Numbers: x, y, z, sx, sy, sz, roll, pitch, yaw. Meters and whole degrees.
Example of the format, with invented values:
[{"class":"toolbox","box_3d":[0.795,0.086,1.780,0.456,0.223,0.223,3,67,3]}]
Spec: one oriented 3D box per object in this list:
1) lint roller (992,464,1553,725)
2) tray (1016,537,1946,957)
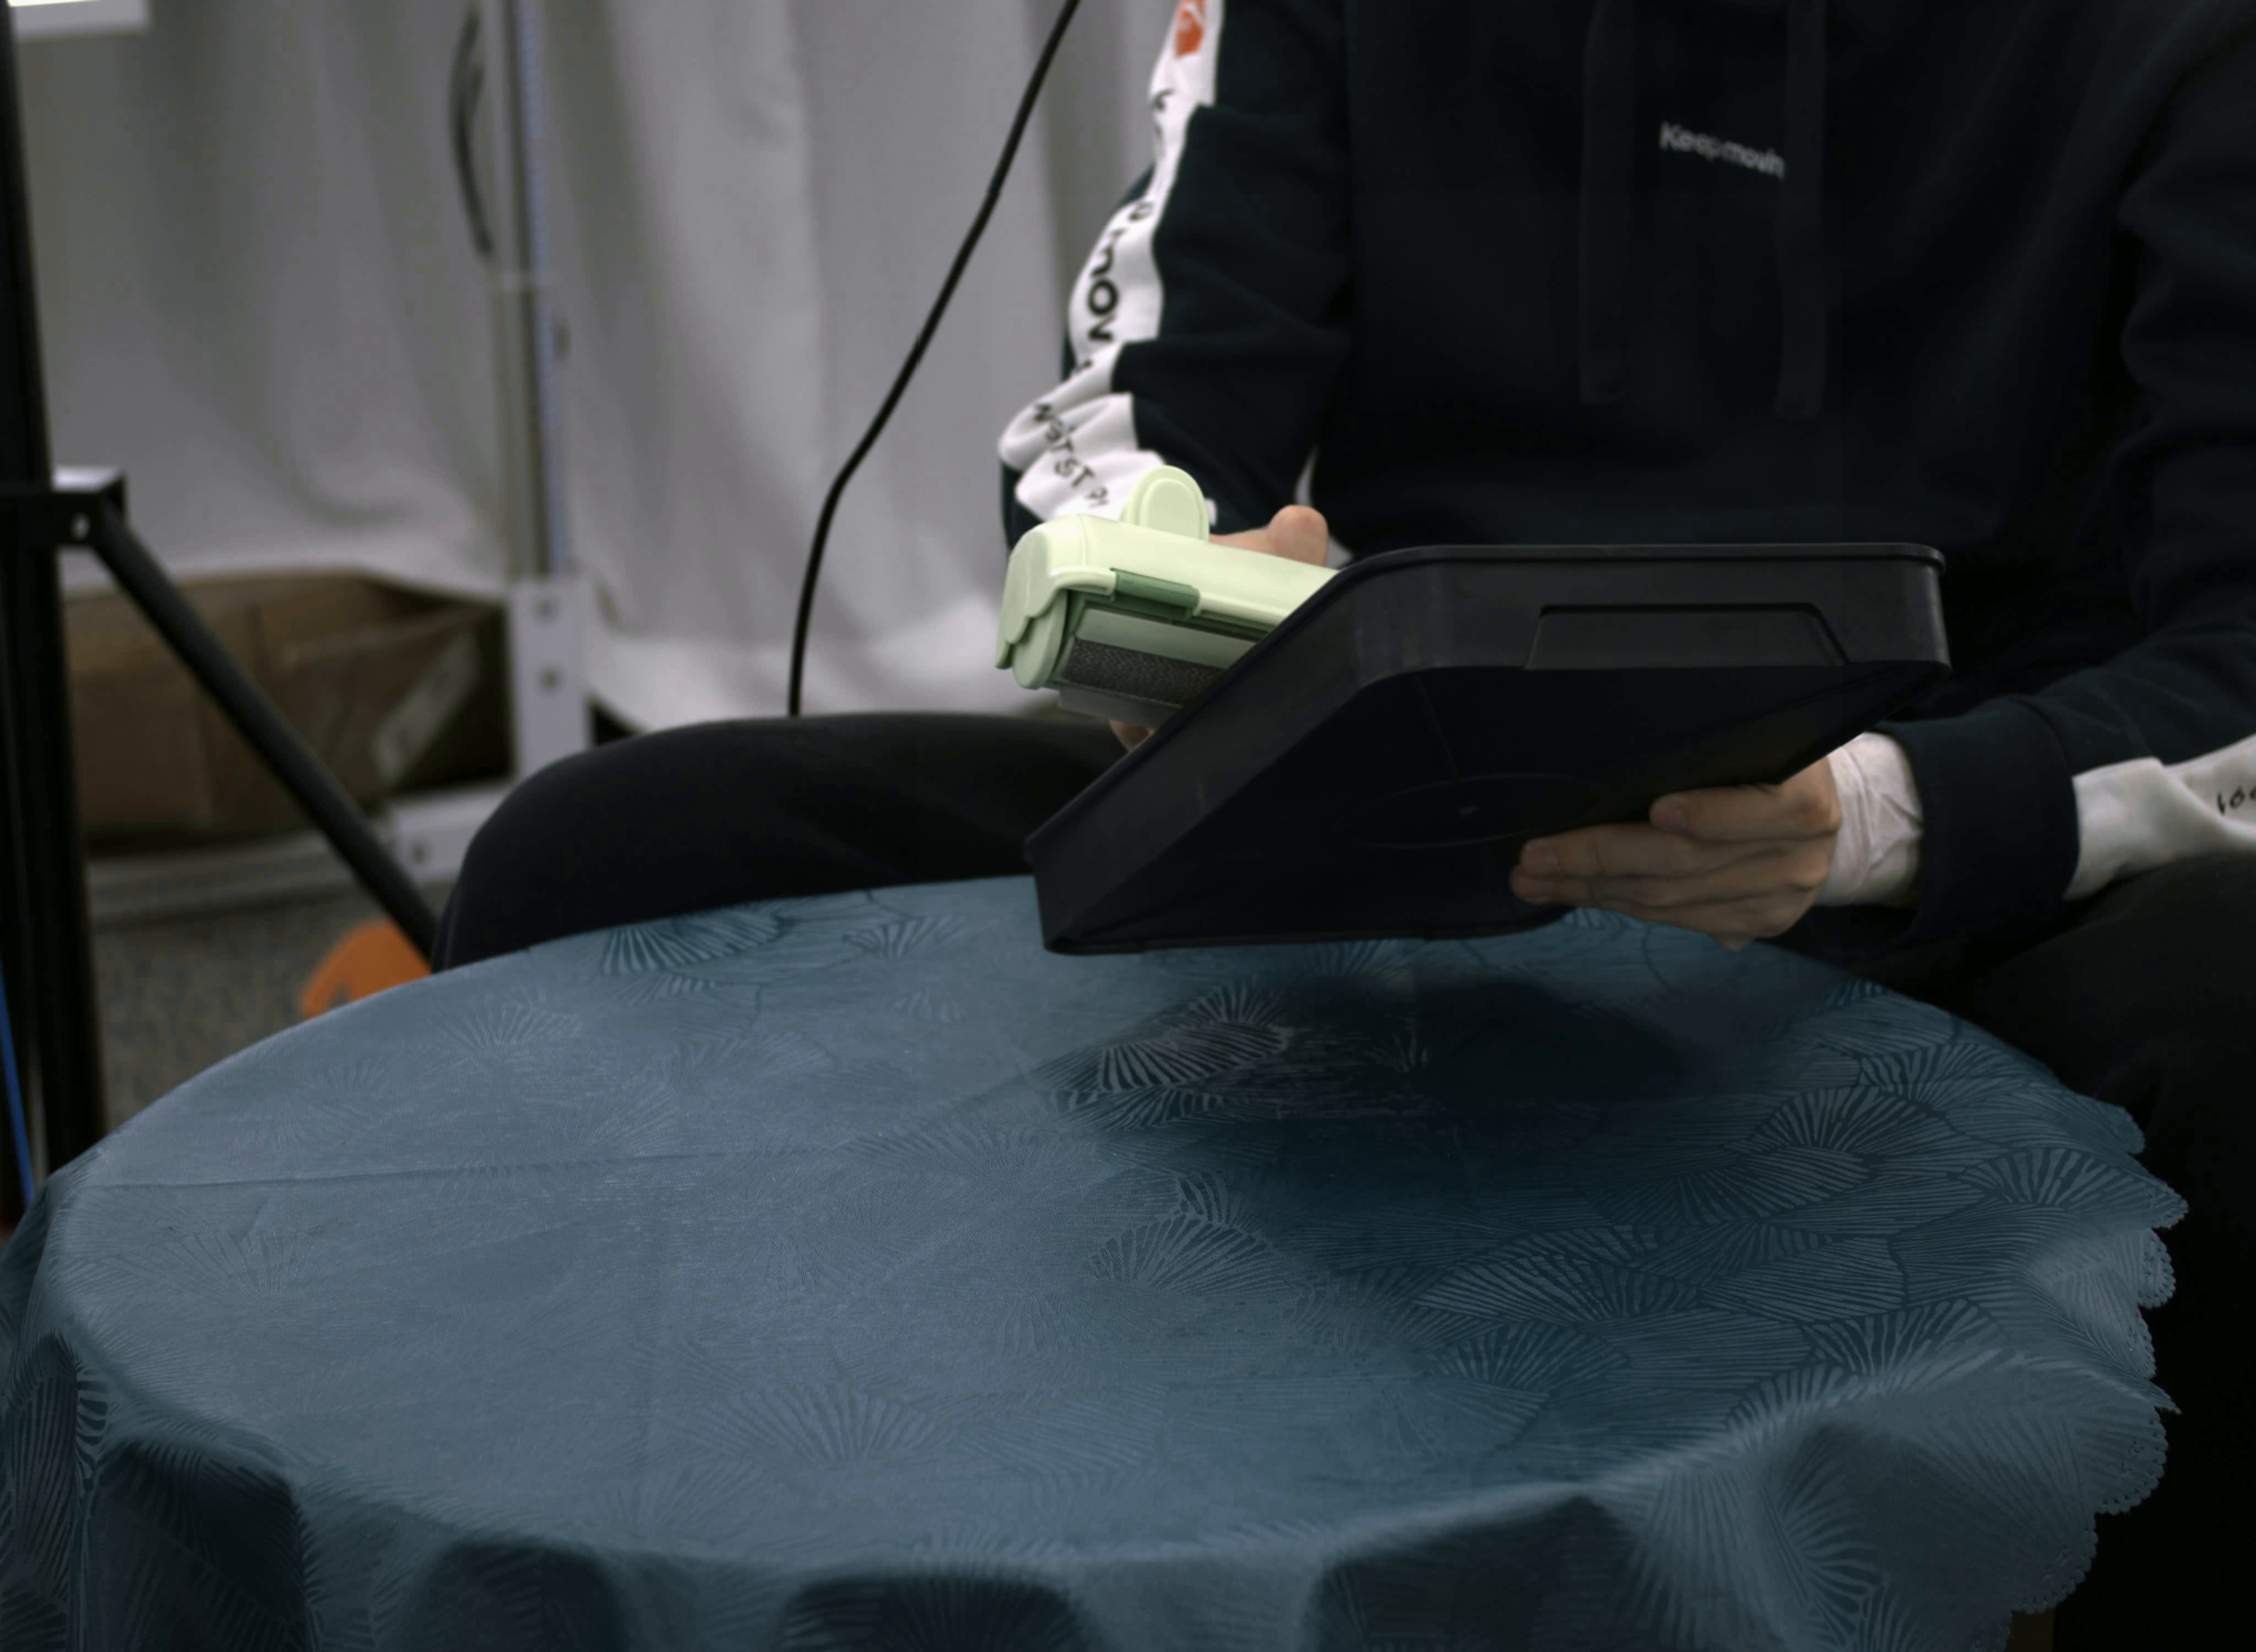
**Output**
[{"class":"lint roller","box_3d":[0.046,-0.062,1.632,0.195,0.082,0.185,11,4,-15]},{"class":"tray","box_3d":[0.097,-0.018,1.579,0.181,0.037,0.321,-1,-15,-19]}]
